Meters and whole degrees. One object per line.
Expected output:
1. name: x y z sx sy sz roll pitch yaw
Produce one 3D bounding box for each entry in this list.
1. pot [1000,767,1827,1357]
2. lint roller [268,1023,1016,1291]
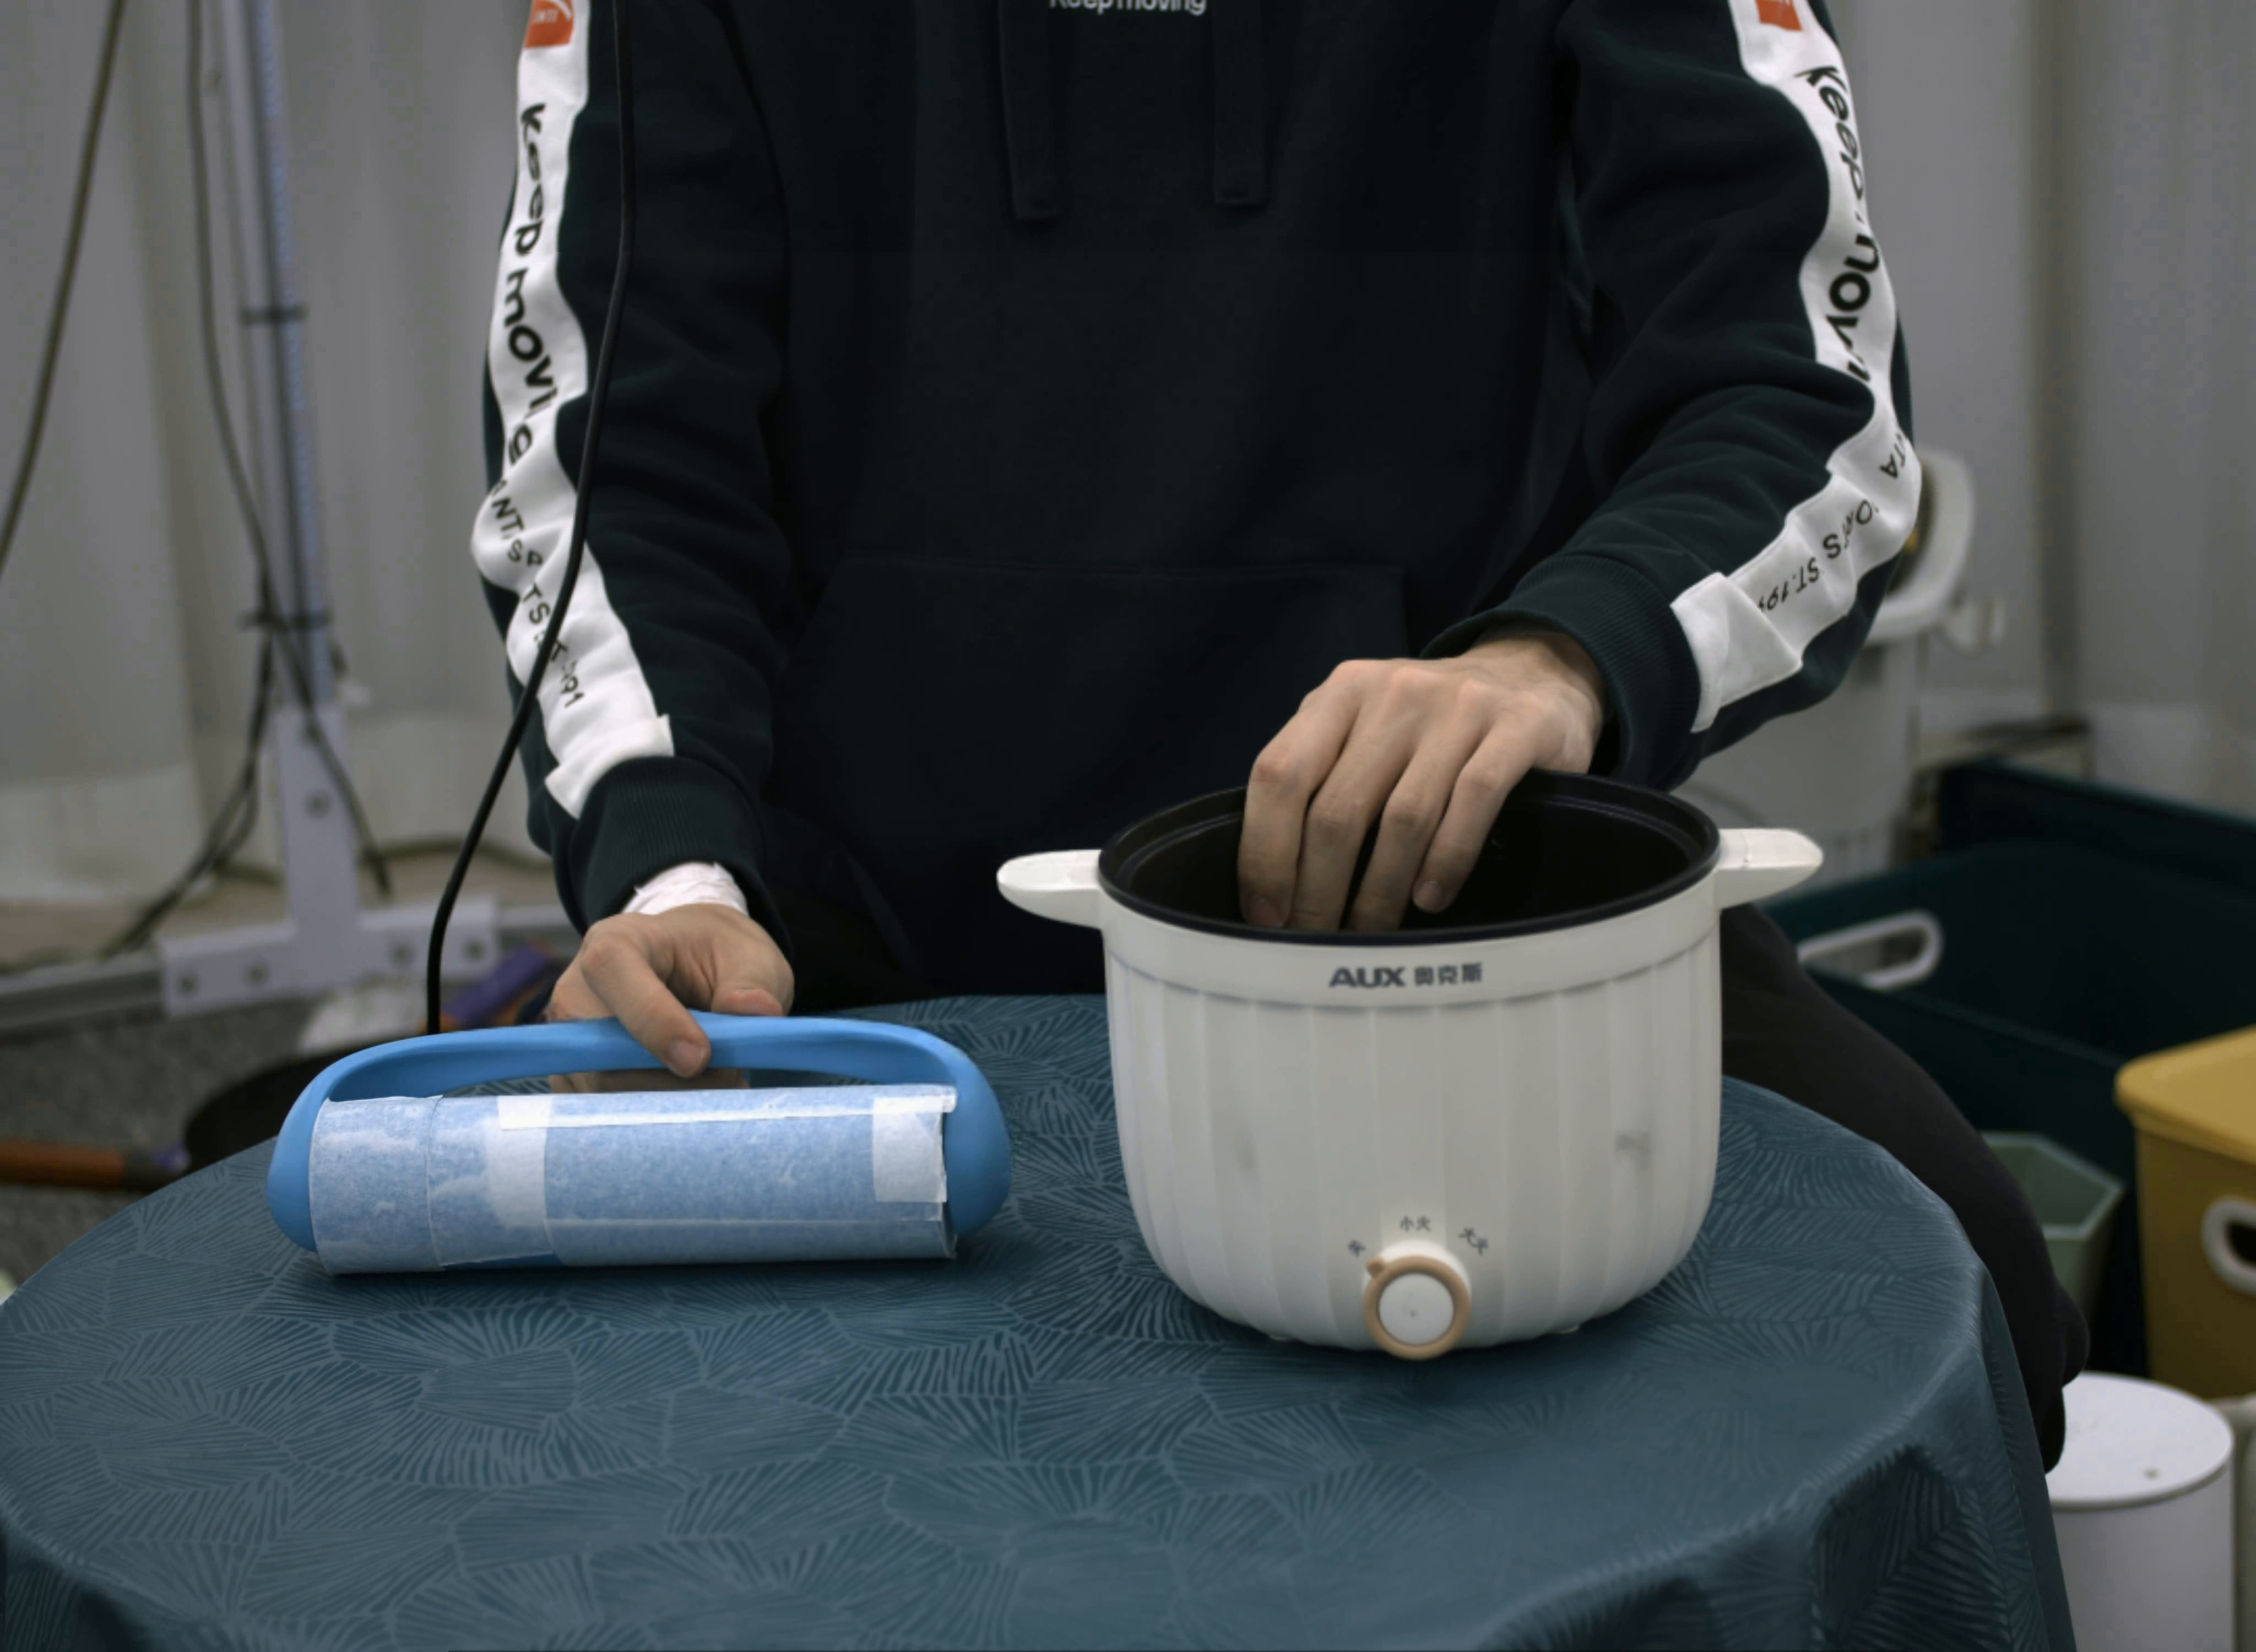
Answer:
1. pot: 0.086 0.071 1.594 0.240 0.142 0.191 -3 11 4
2. lint roller: -0.148 0.093 1.720 0.228 0.067 0.181 -5 16 1
